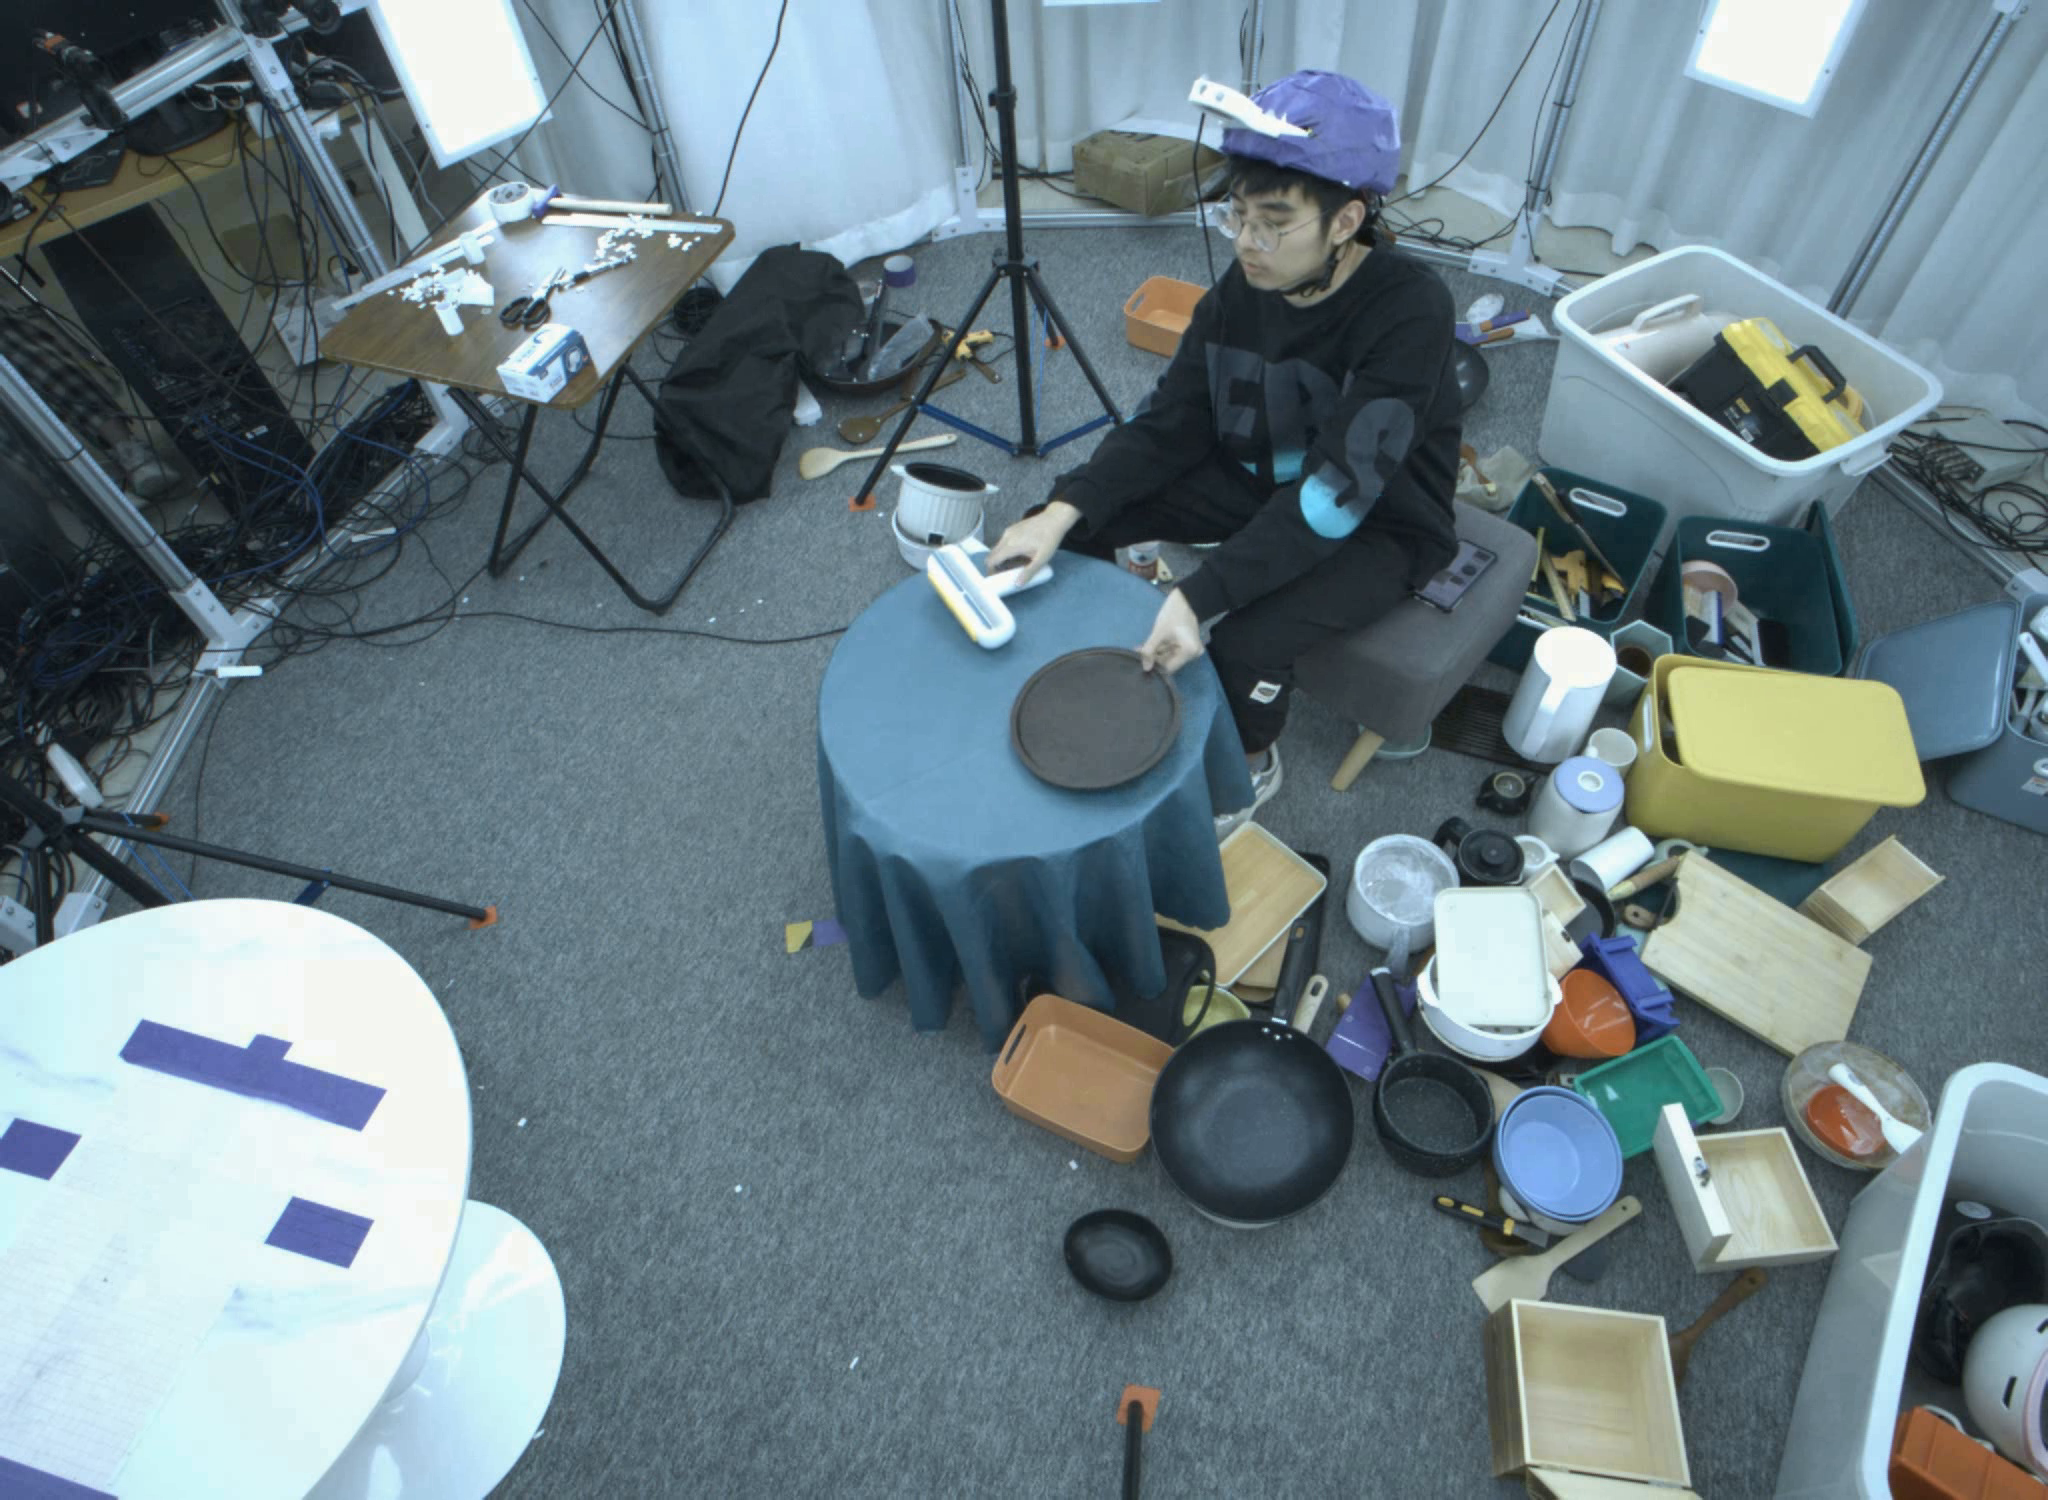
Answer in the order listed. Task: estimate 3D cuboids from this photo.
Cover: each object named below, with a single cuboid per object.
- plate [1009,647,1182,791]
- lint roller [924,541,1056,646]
[{"bbox_3d":[0.103,-0.046,1.781,0.253,0.029,0.252,-4,55,7],"label":"plate"},{"bbox_3d":[-0.037,-0.263,1.930,0.194,0.075,0.189,-25,63,-17],"label":"lint roller"}]
